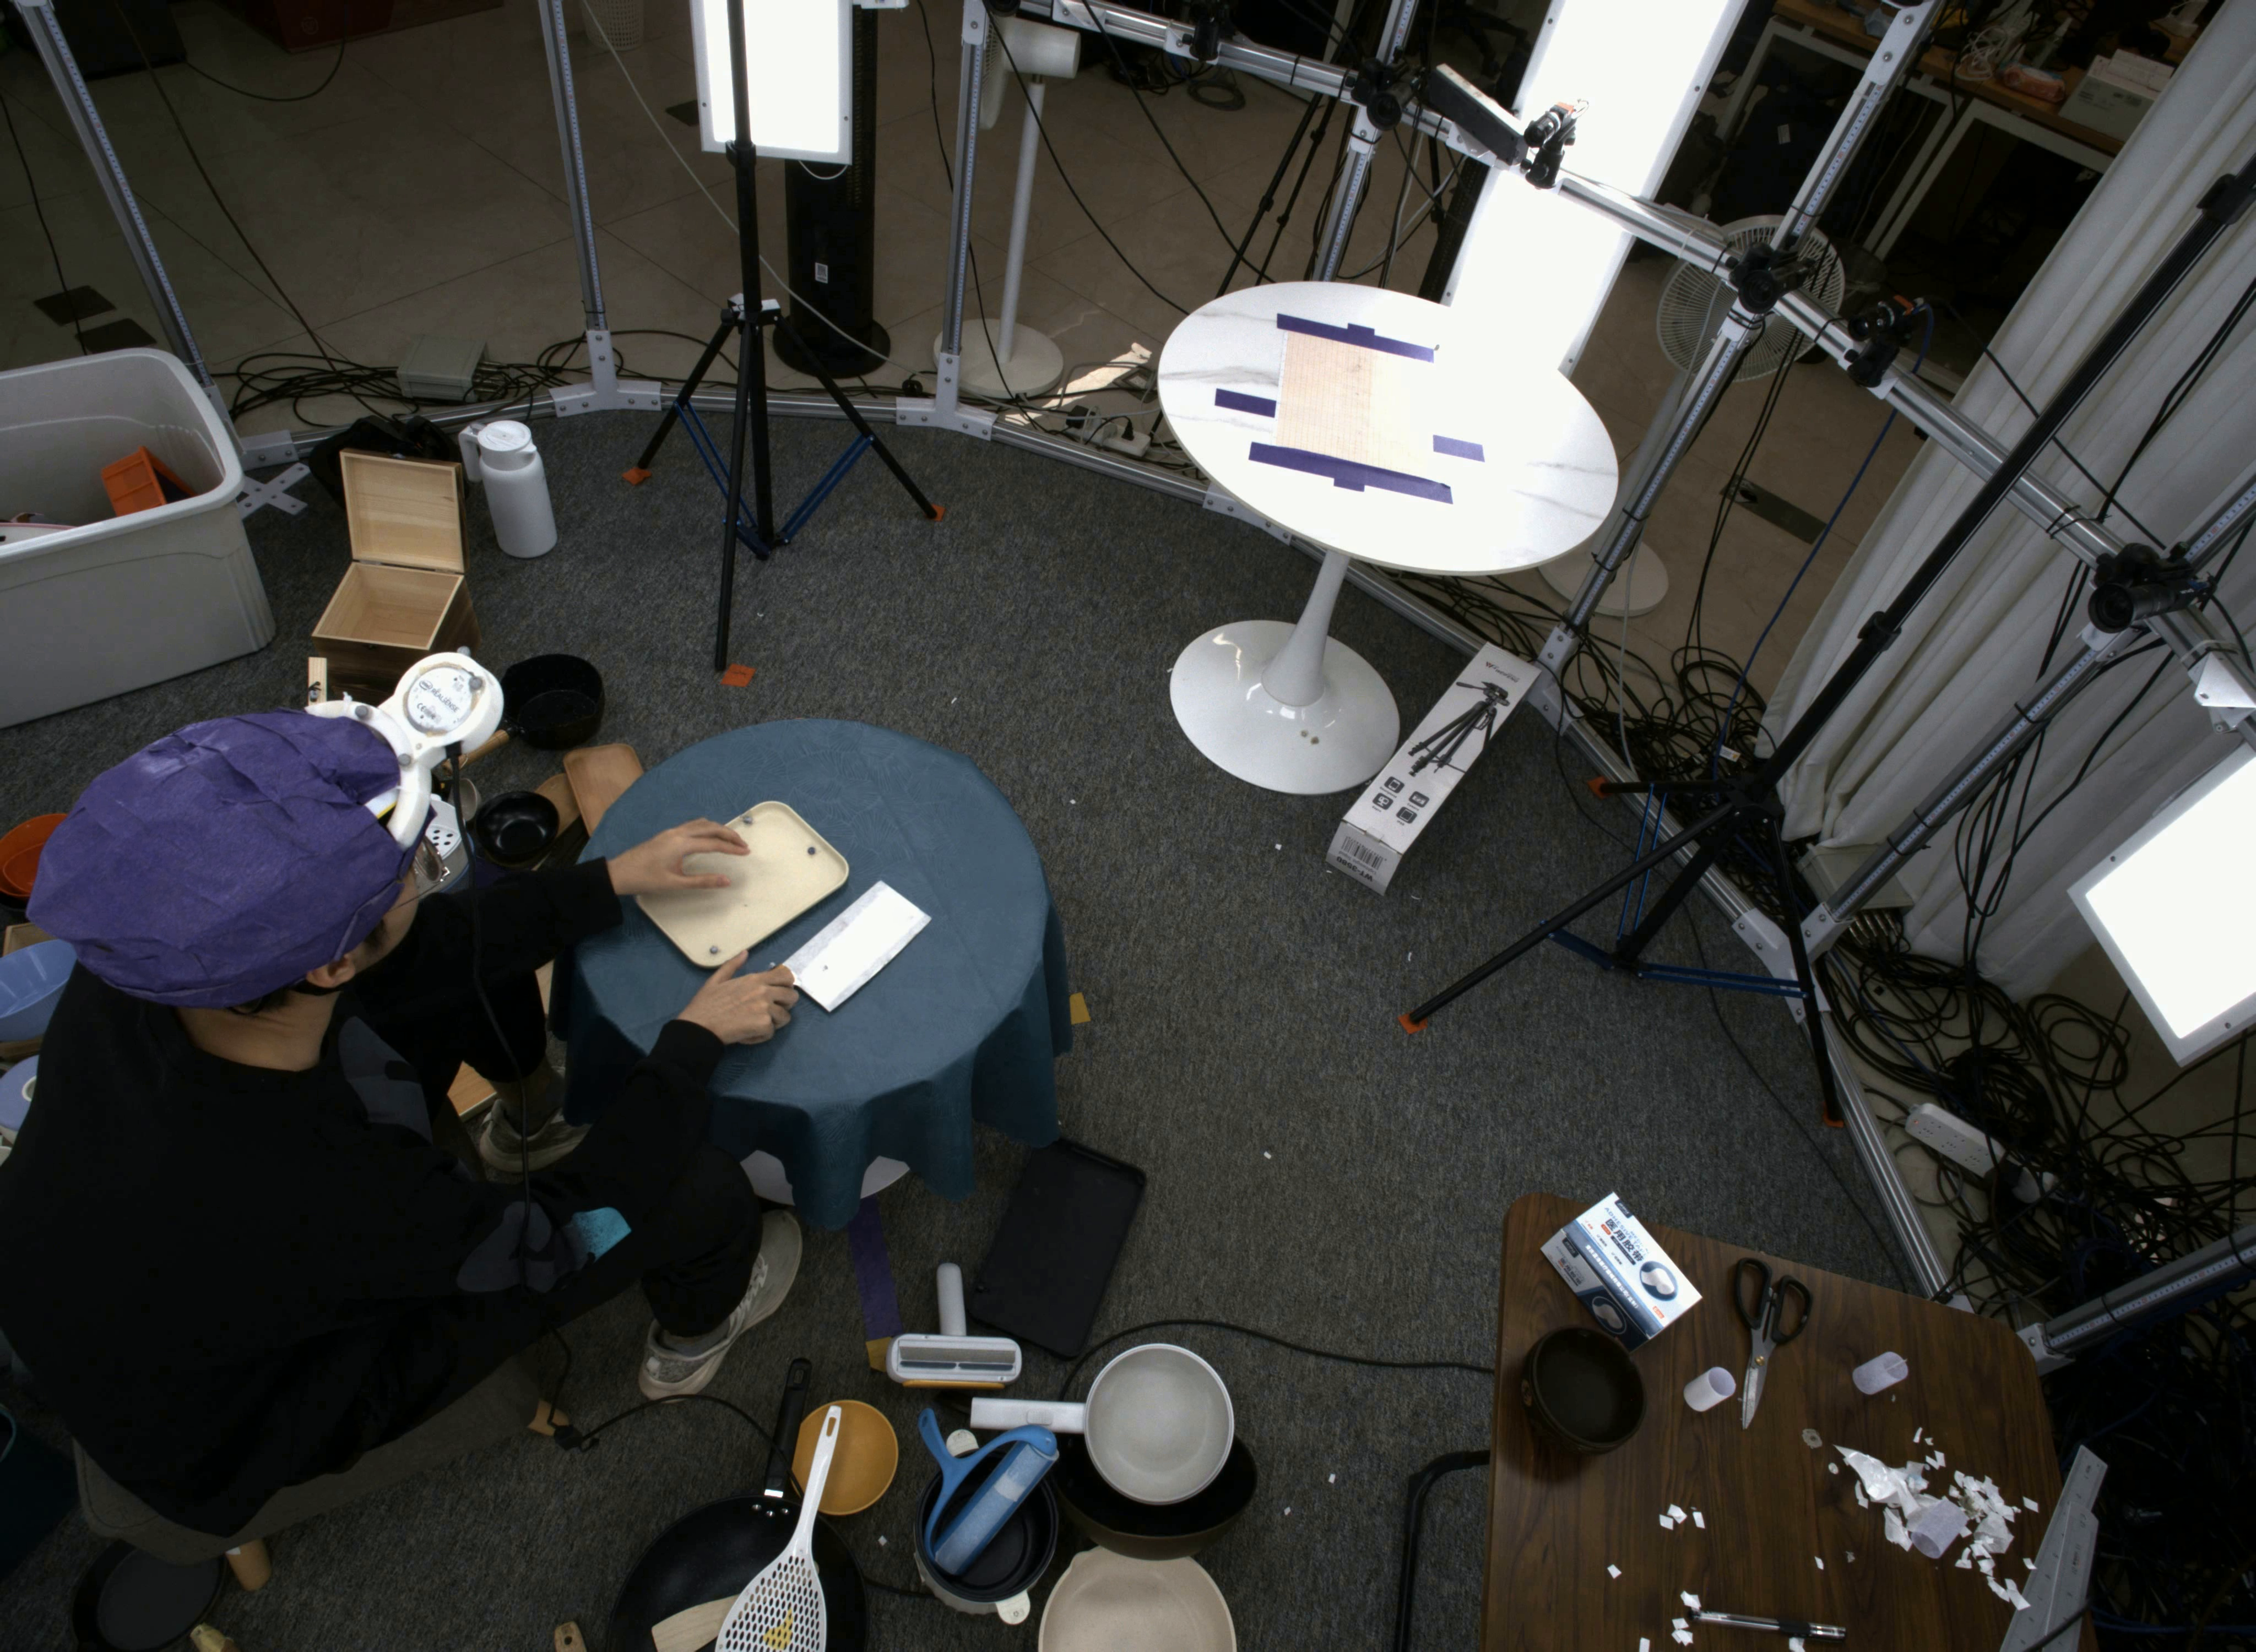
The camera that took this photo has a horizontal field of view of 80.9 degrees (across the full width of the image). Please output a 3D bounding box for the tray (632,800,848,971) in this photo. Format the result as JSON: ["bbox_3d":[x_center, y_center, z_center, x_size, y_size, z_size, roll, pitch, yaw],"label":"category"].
[{"bbox_3d":[-0.488,0.071,1.631,0.168,0.018,0.240,42,54,15],"label":"tray"}]

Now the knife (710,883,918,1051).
[{"bbox_3d":[-0.373,0.177,1.585,0.091,0.021,0.305,36,51,11],"label":"knife"}]
